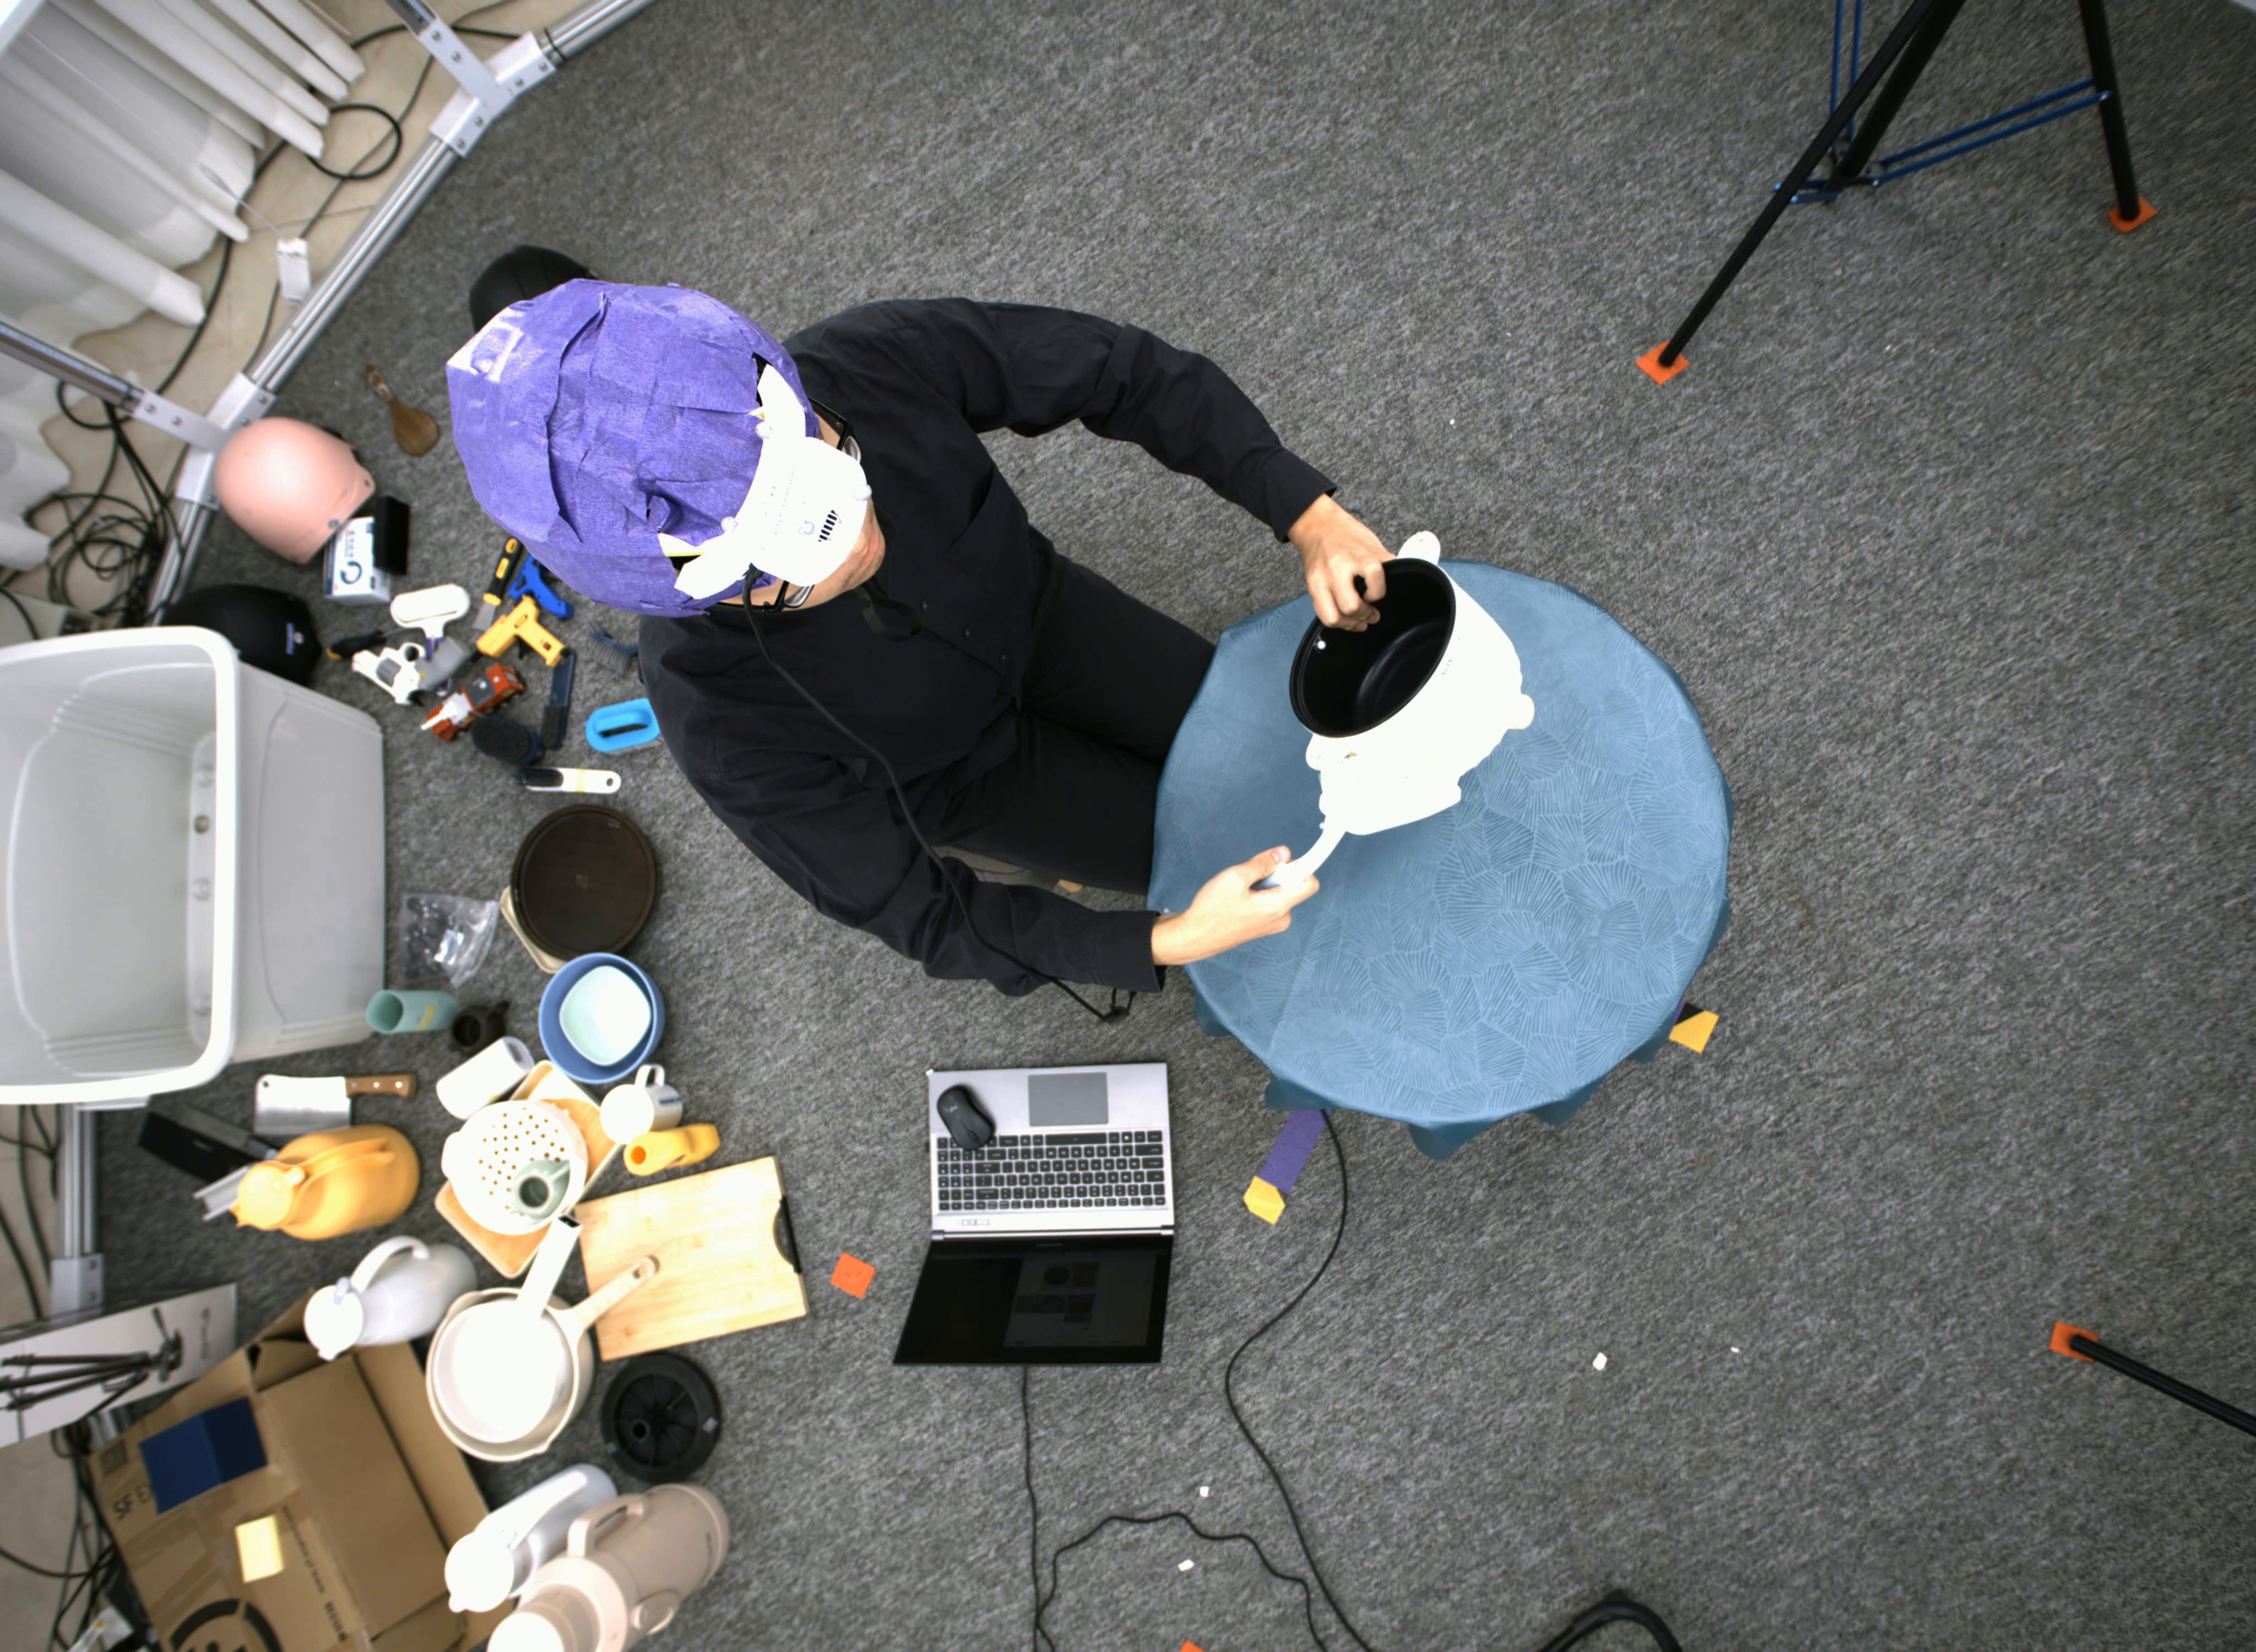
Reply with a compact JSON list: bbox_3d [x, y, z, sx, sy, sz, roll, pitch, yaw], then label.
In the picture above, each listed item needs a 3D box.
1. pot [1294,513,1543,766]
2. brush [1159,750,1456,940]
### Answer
[{"bbox_3d":[0.267,-0.148,1.233,0.143,0.190,0.239,28,83,-32],"label":"pot"},{"bbox_3d":[0.151,0.005,1.262,0.331,0.082,0.083,-28,103,33],"label":"brush"}]
